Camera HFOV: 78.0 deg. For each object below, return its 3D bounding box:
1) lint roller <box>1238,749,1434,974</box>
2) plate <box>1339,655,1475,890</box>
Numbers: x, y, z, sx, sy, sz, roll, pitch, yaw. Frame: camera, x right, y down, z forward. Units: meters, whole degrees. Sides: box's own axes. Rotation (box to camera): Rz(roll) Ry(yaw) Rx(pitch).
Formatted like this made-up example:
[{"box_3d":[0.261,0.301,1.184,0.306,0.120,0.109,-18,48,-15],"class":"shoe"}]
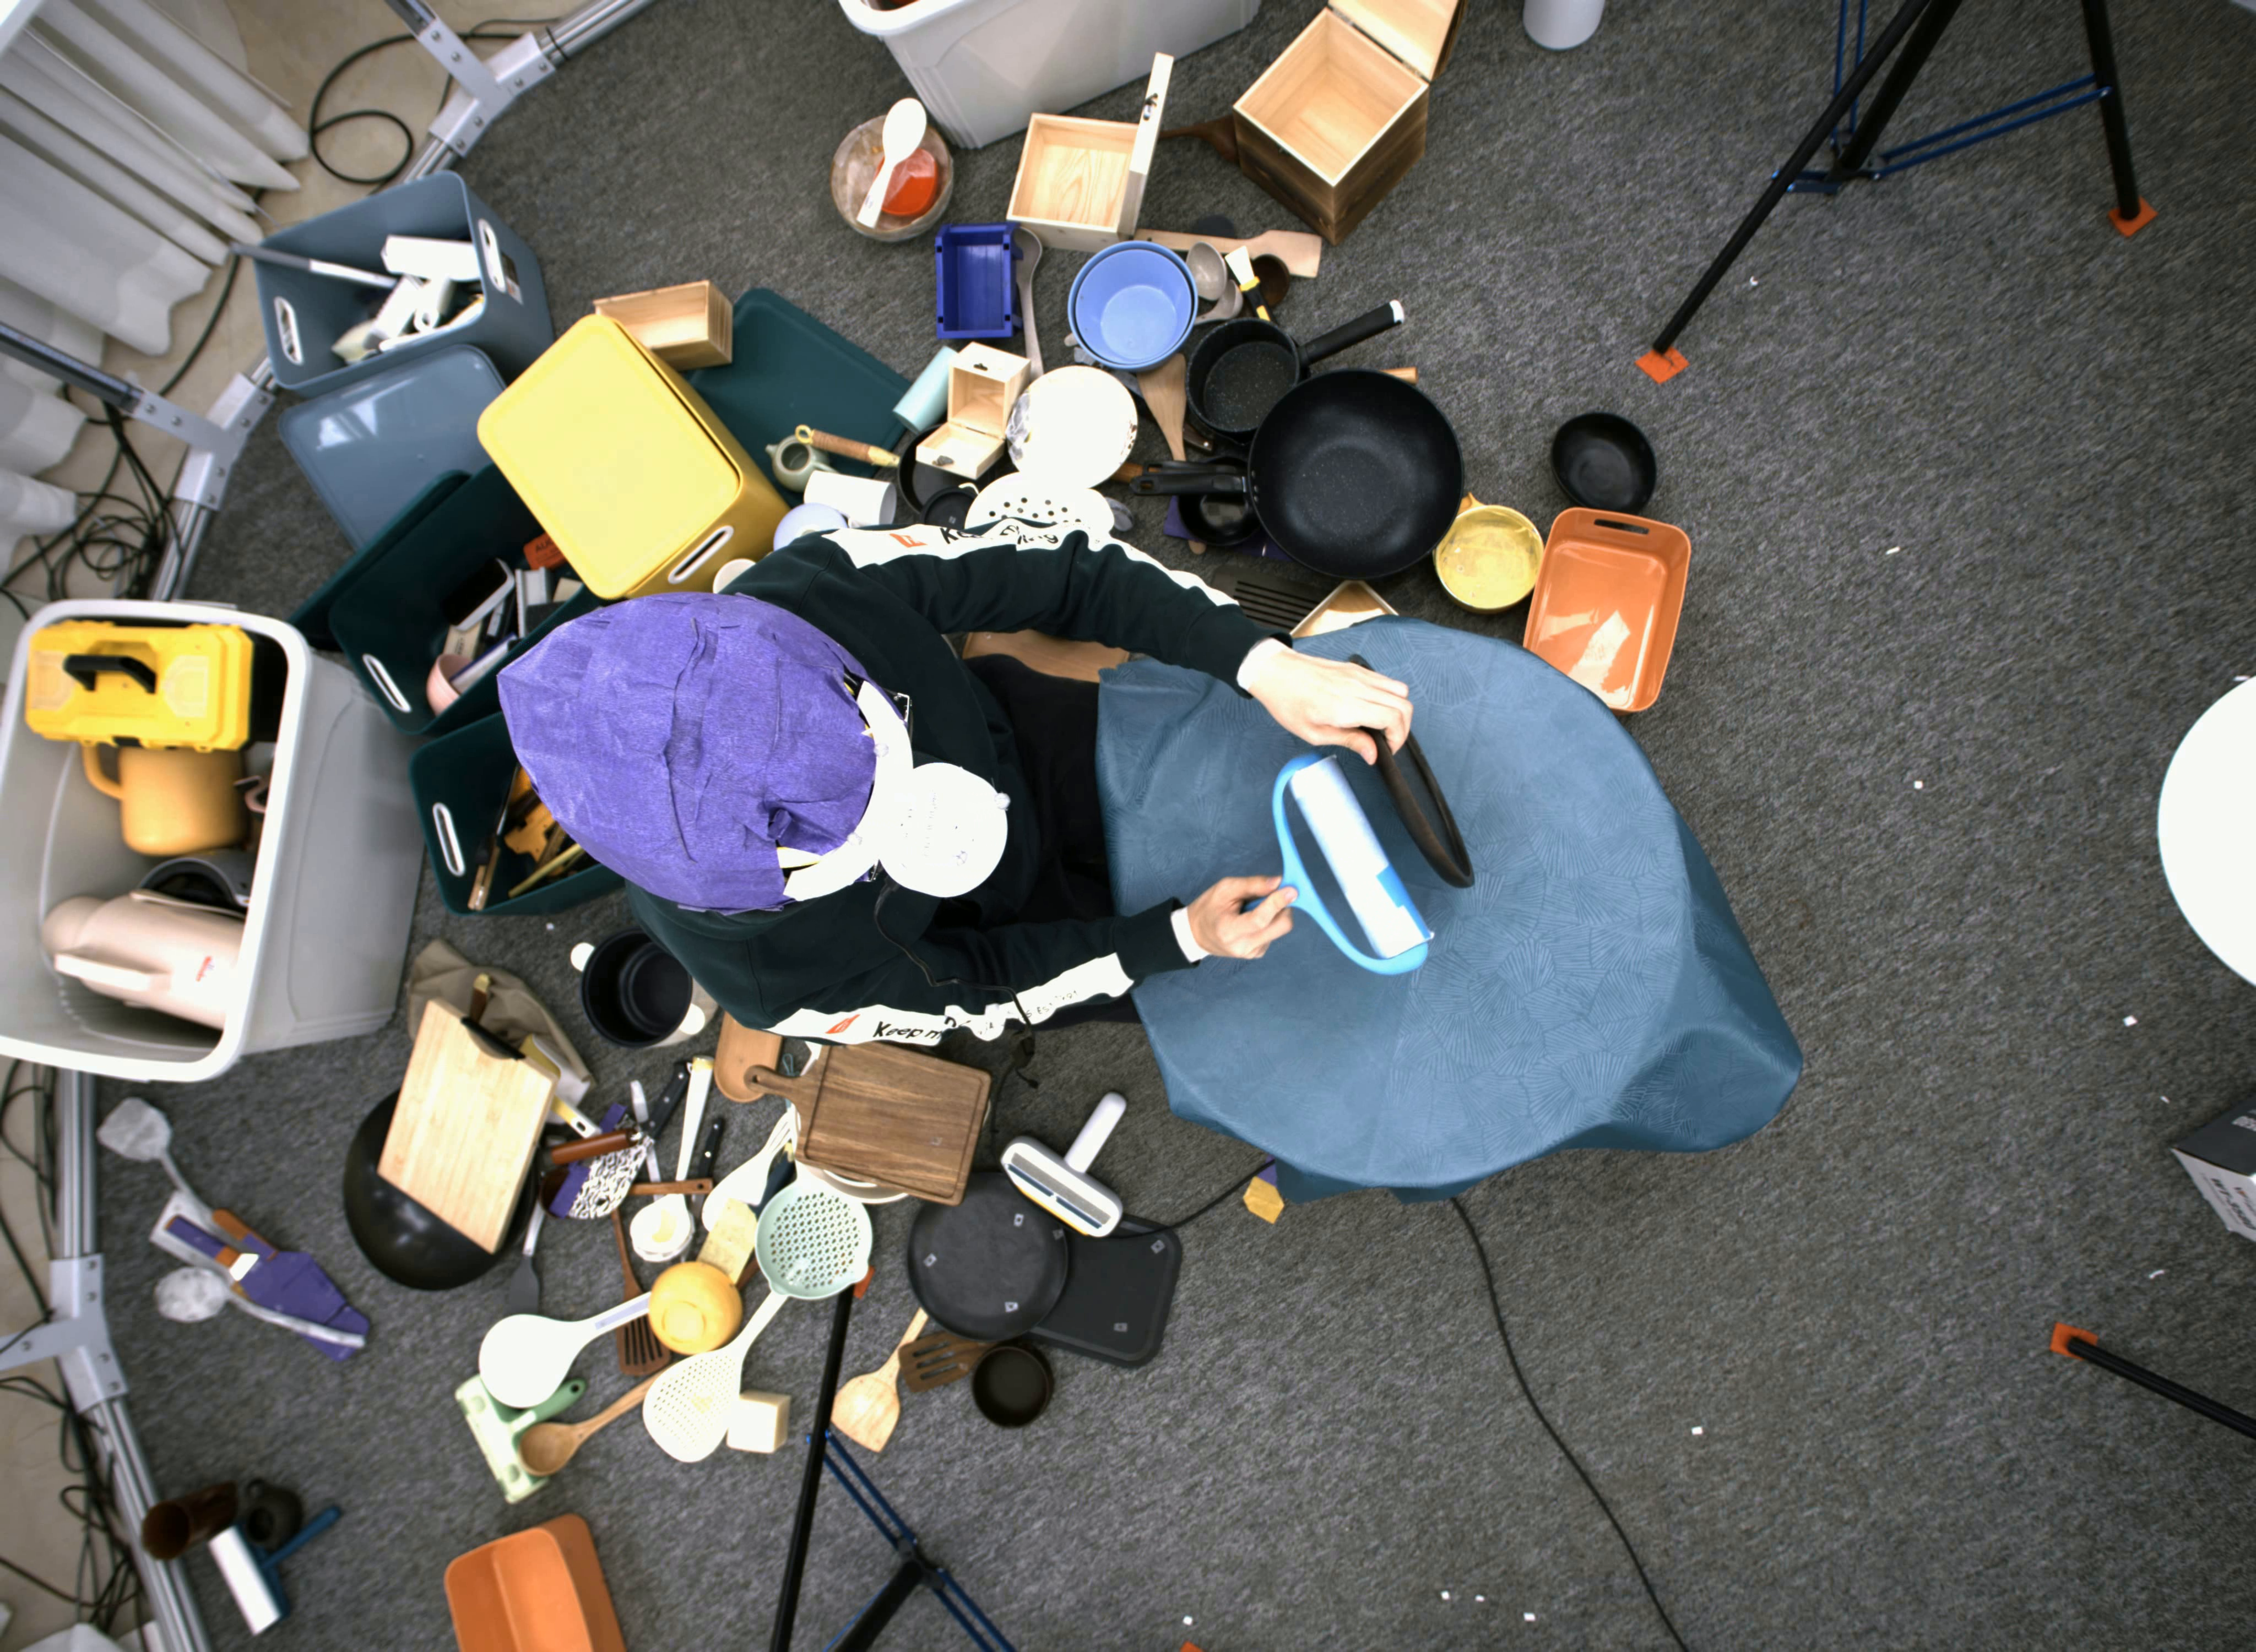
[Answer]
[{"box_3d":[0.171,0.060,1.317,0.183,0.067,0.227,-34,81,26],"class":"lint roller"},{"box_3d":[0.271,-0.052,1.338,0.029,0.253,0.253,-28,81,17],"class":"plate"}]
